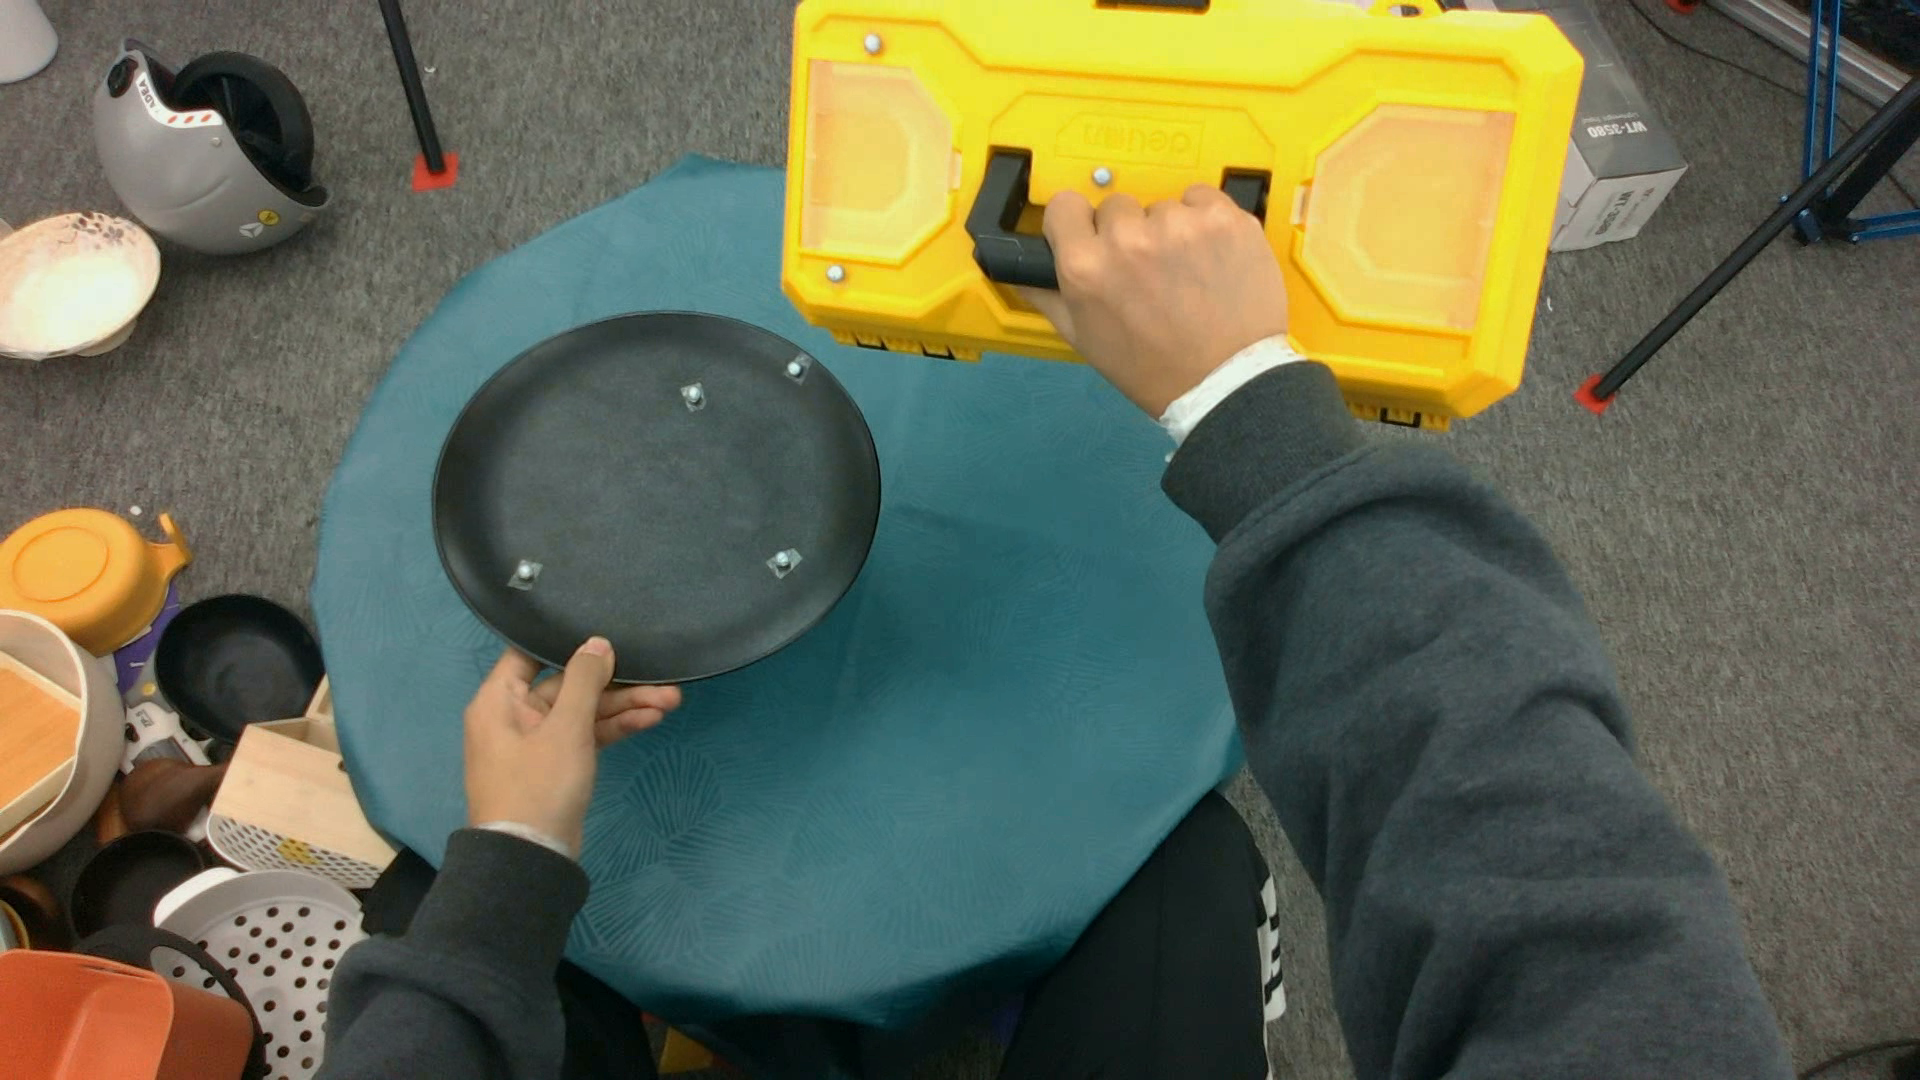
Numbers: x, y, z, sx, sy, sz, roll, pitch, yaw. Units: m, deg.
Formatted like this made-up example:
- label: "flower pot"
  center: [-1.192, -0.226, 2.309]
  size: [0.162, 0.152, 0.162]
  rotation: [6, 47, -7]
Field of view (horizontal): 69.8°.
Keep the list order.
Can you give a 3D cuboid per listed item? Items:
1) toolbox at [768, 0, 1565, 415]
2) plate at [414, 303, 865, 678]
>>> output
- label: "toolbox"
  center: [0.093, -0.175, 0.675]
  size: [0.351, 0.181, 0.173]
  rotation: [12, 15, 16]
- label: "plate"
  center: [-0.175, -0.031, 0.772]
  size: [0.244, 0.023, 0.245]
  rotation: [3, 60, -6]
